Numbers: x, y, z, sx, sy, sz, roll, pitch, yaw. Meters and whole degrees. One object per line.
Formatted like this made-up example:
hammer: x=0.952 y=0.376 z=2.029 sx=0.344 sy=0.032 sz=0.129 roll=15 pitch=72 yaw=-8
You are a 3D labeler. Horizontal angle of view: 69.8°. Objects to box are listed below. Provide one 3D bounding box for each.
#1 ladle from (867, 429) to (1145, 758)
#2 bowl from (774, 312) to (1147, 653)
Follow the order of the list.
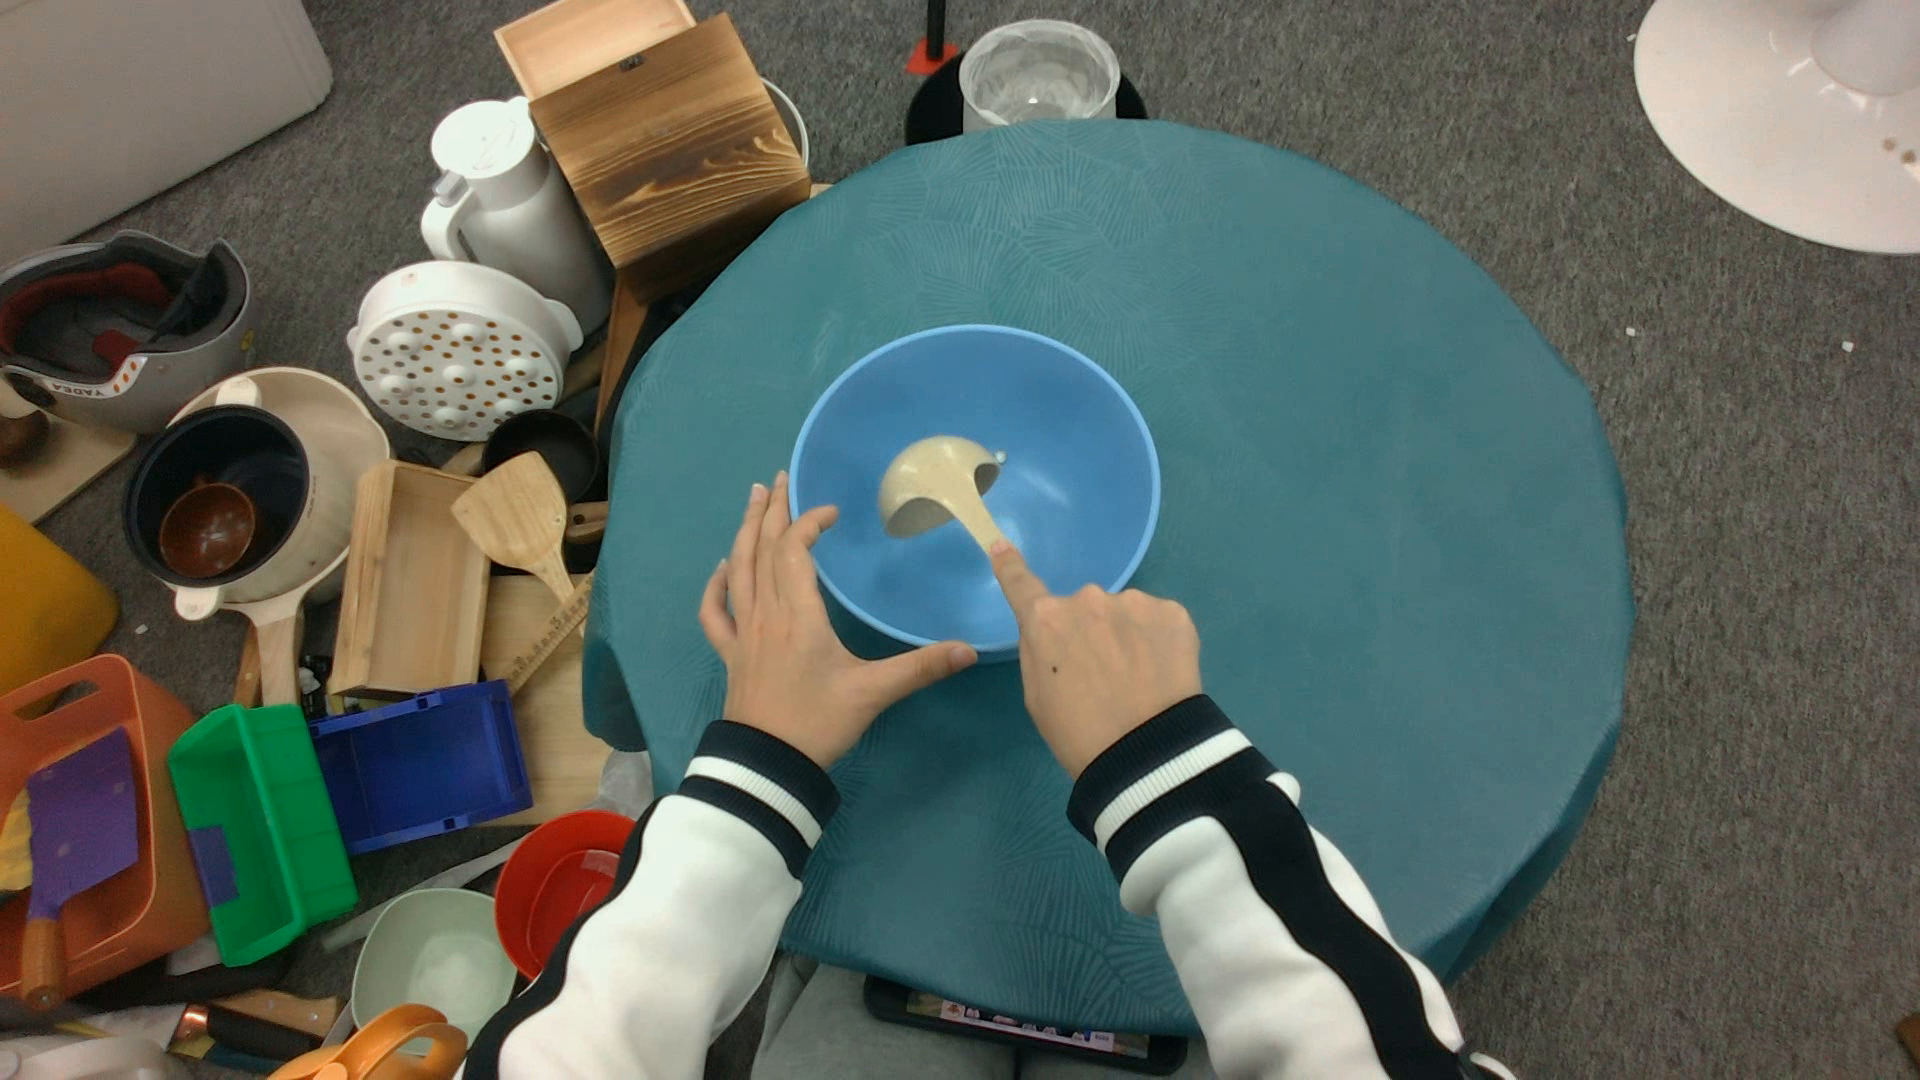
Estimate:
ladle: x=0.026 y=0.035 z=0.687 sx=0.072 sy=0.072 sz=0.255 roll=-25 pitch=48 yaw=-10
bowl: x=0.000 y=-0.019 z=0.764 sx=0.196 sy=0.095 sz=0.197 roll=1 pitch=65 yaw=-1
